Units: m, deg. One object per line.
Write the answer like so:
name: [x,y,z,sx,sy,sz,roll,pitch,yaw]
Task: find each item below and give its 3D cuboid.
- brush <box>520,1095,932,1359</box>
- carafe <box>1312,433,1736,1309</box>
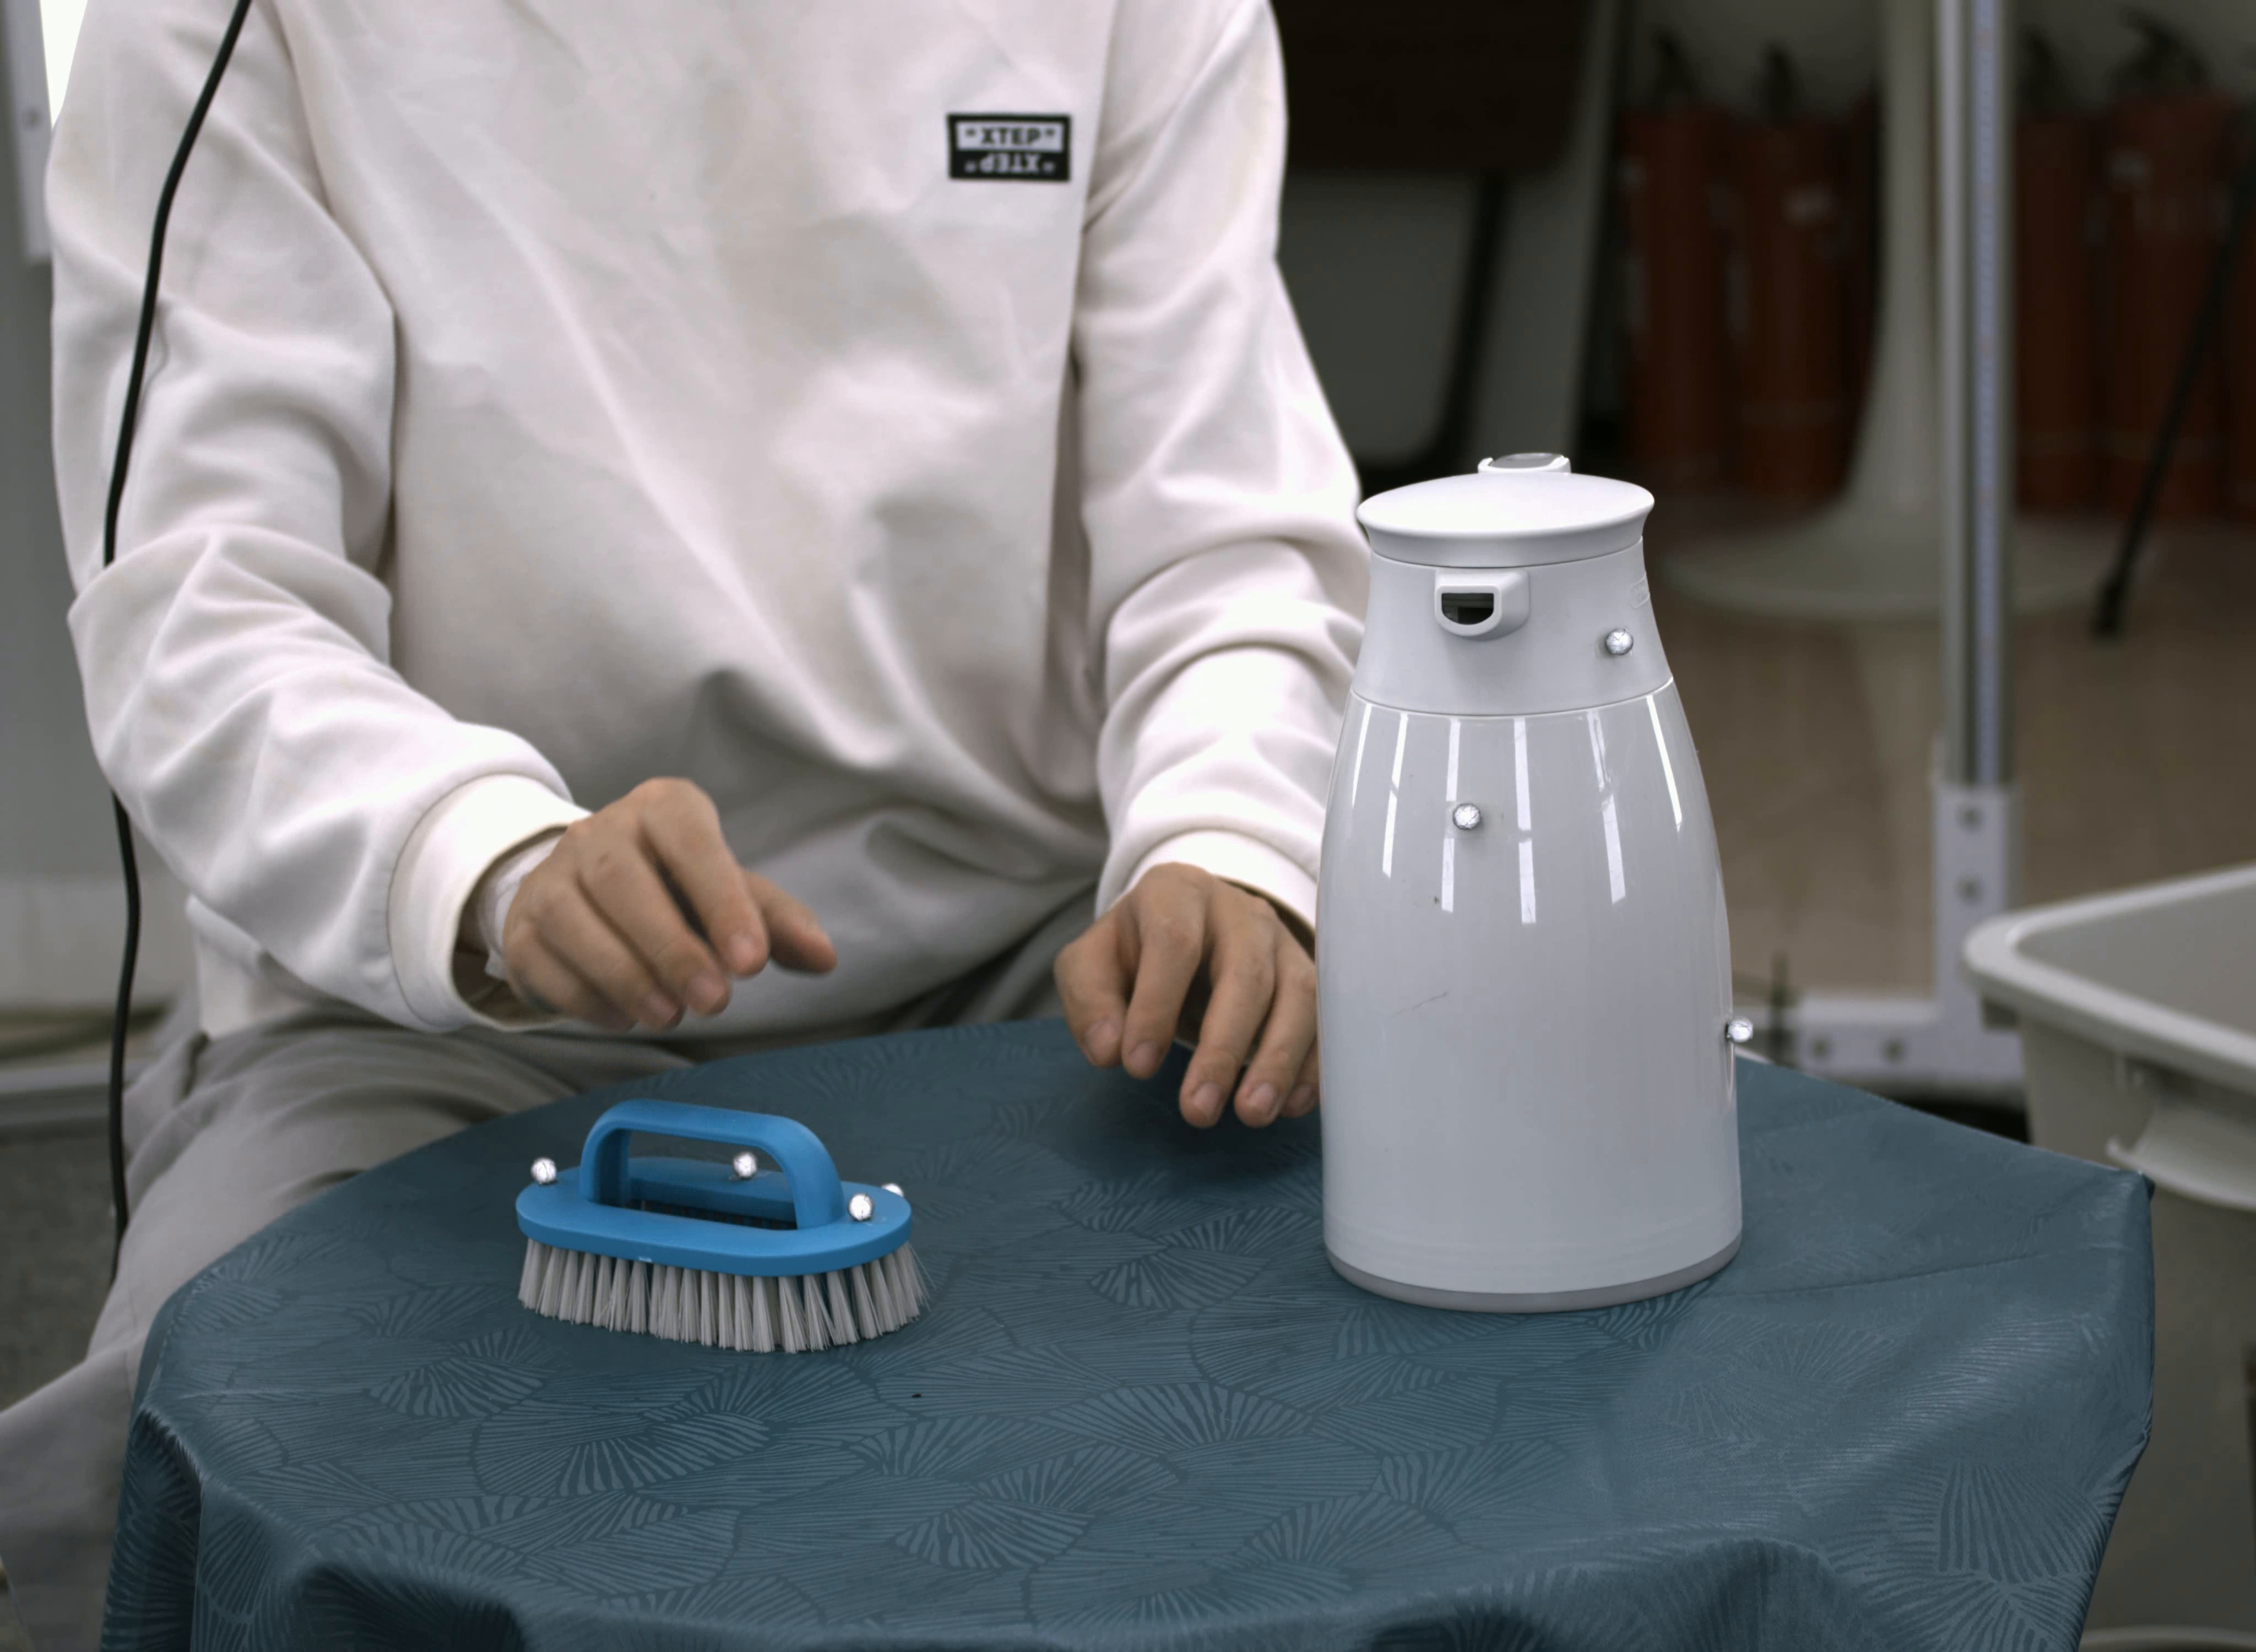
brush: [-0.130,0.118,1.685,0.142,0.064,0.083,5,20,35]
carafe: [0.123,0.006,1.682,0.132,0.251,0.166,0,13,15]
